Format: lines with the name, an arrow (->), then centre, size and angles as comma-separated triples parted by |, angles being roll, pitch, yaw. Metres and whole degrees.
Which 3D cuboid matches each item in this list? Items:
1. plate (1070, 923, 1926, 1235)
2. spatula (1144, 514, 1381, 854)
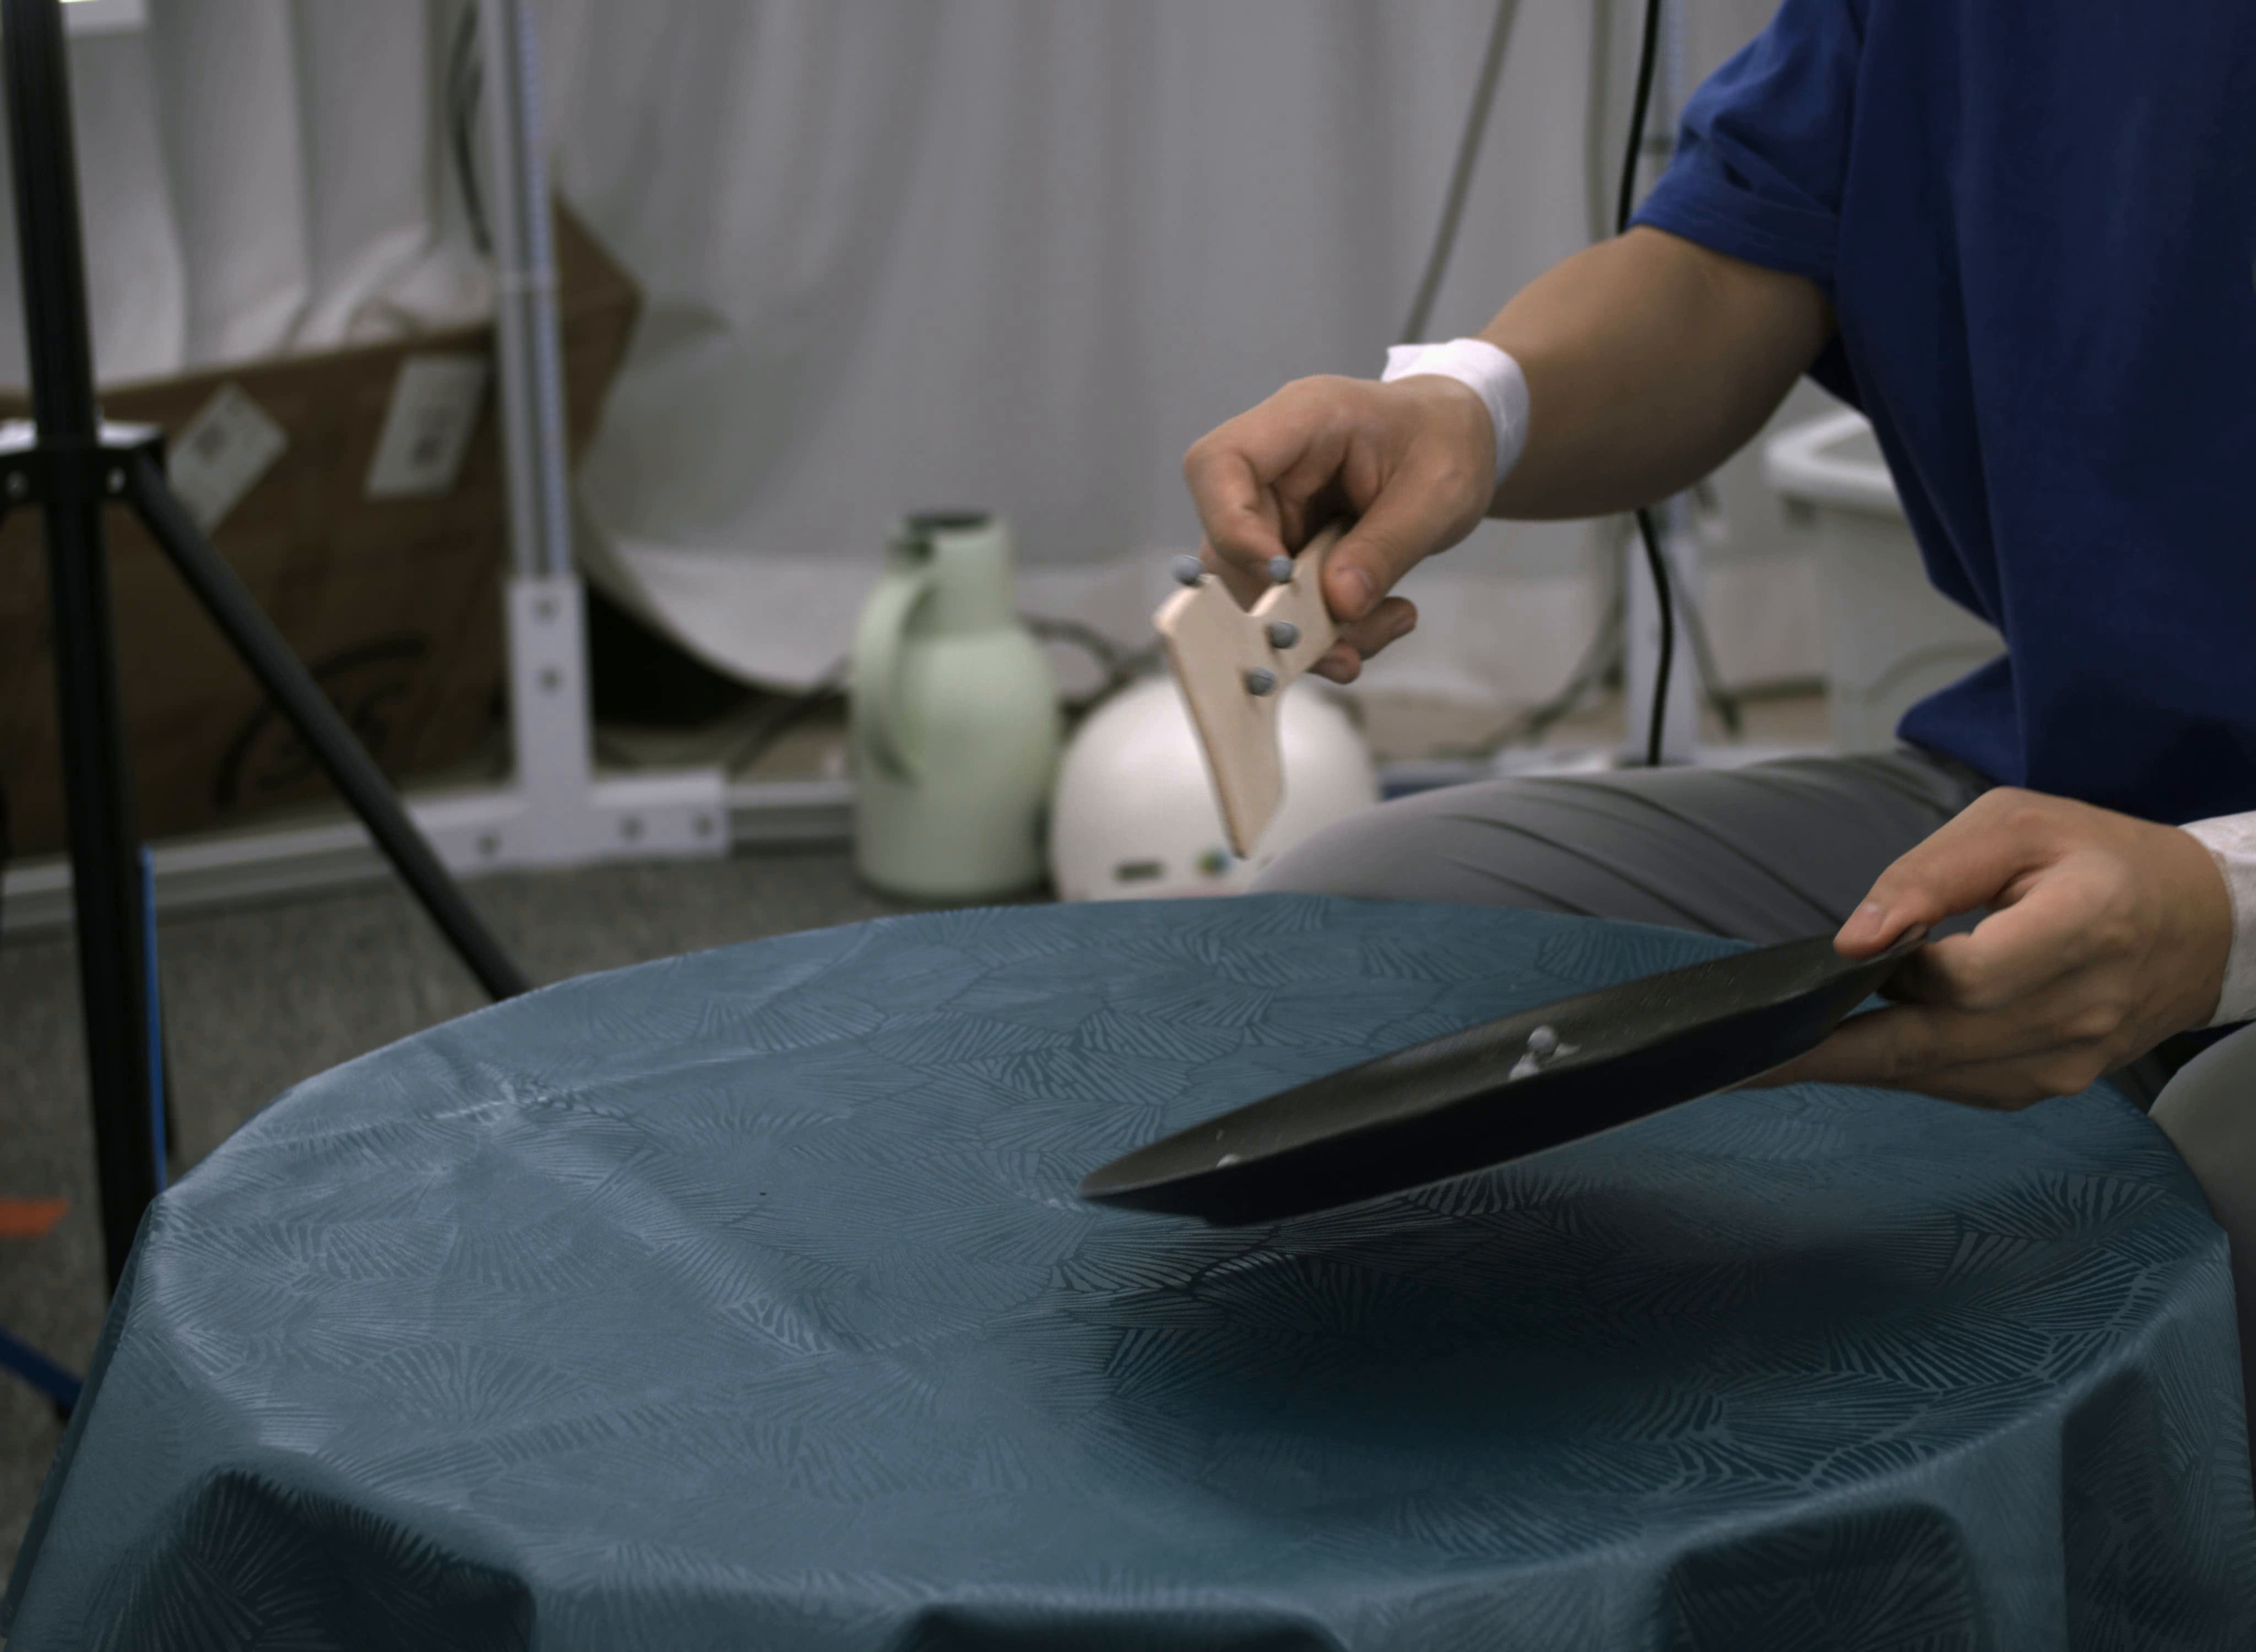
plate -> 0.103, 0.073, 1.443 | 0.243, 0.023, 0.244 | -18, 1, -2
spatula -> 0.044, -0.057, 1.583 | 0.011, 0.072, 0.291 | -17, 9, 16
